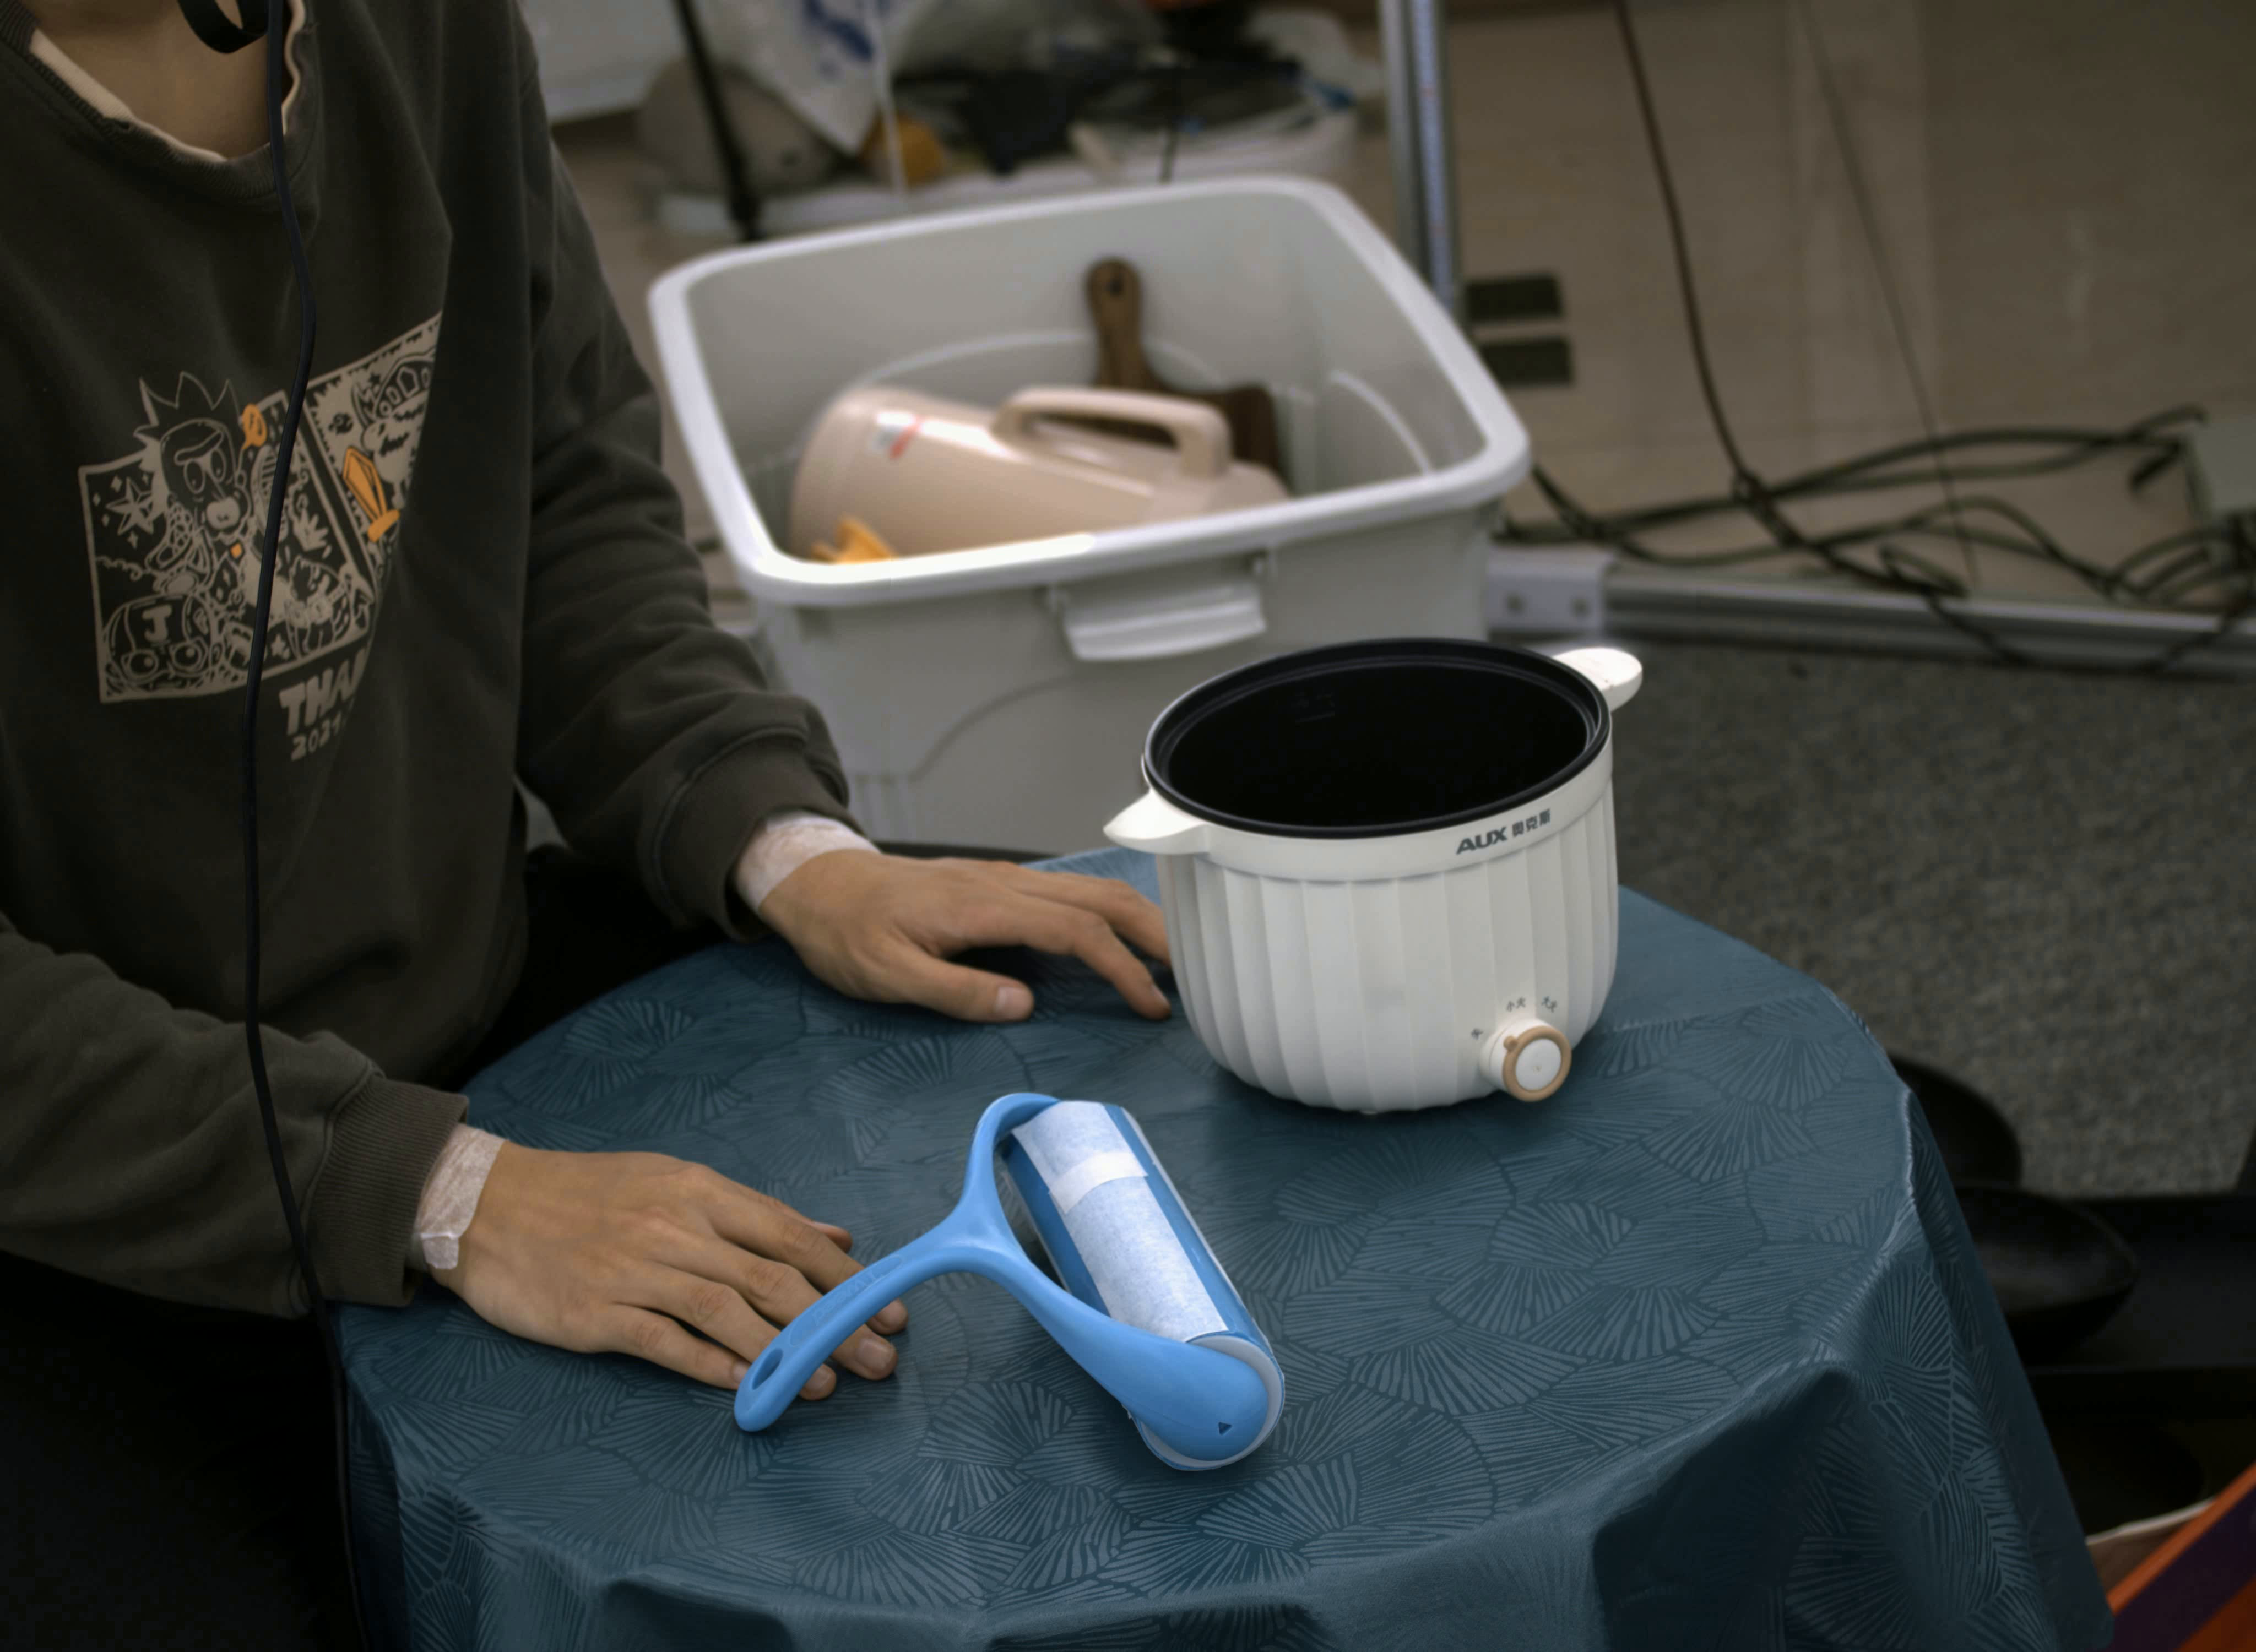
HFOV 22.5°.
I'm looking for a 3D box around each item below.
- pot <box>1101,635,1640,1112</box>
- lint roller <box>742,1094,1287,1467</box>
[{"bbox_3d":[0.106,0.023,2.201,0.239,0.145,0.188,-20,26,-24],"label":"pot"},{"bbox_3d":[-0.052,0.171,2.021,0.180,0.069,0.226,-11,27,-13],"label":"lint roller"}]
